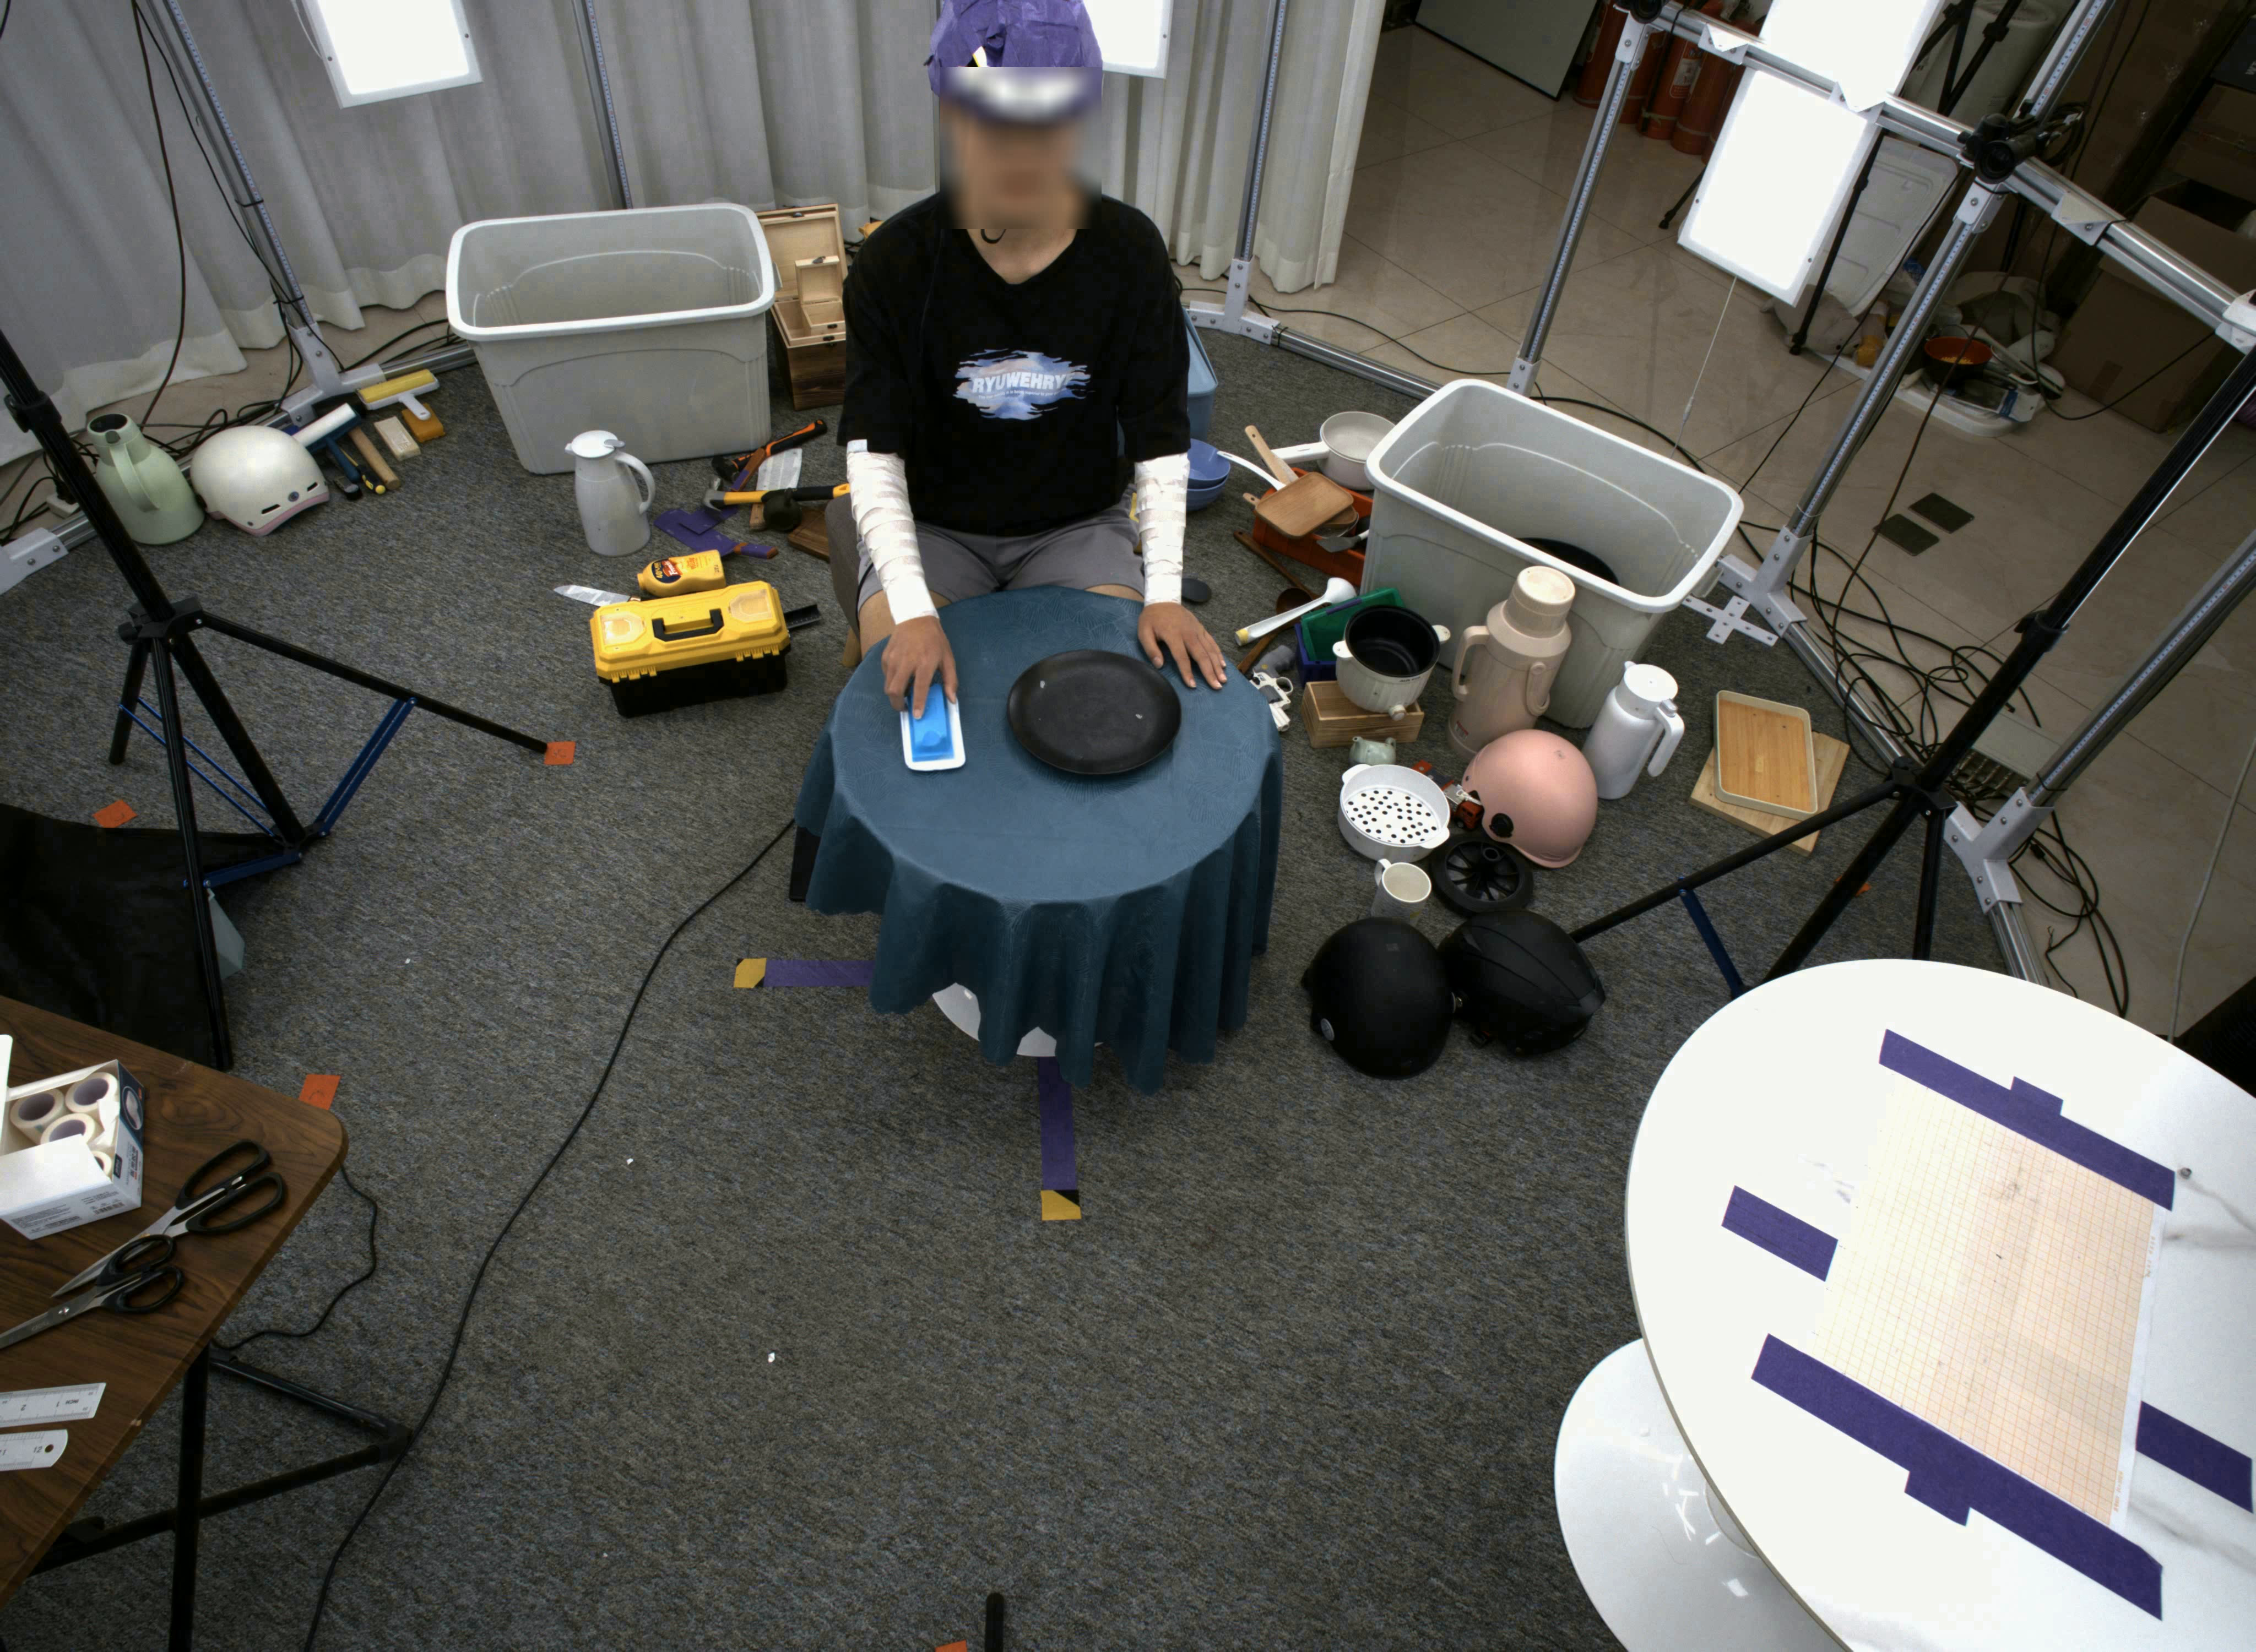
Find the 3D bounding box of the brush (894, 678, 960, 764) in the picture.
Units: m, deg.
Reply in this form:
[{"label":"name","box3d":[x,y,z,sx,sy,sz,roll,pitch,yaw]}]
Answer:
[{"label":"brush","box3d":[-0.271,-0.150,1.745,0.084,0.054,0.147,-4,53,-12]}]

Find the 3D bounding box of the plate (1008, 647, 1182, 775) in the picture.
[{"label":"plate","box3d":[-0.046,-0.159,1.792,0.244,0.023,0.250,2,50,-2]}]
